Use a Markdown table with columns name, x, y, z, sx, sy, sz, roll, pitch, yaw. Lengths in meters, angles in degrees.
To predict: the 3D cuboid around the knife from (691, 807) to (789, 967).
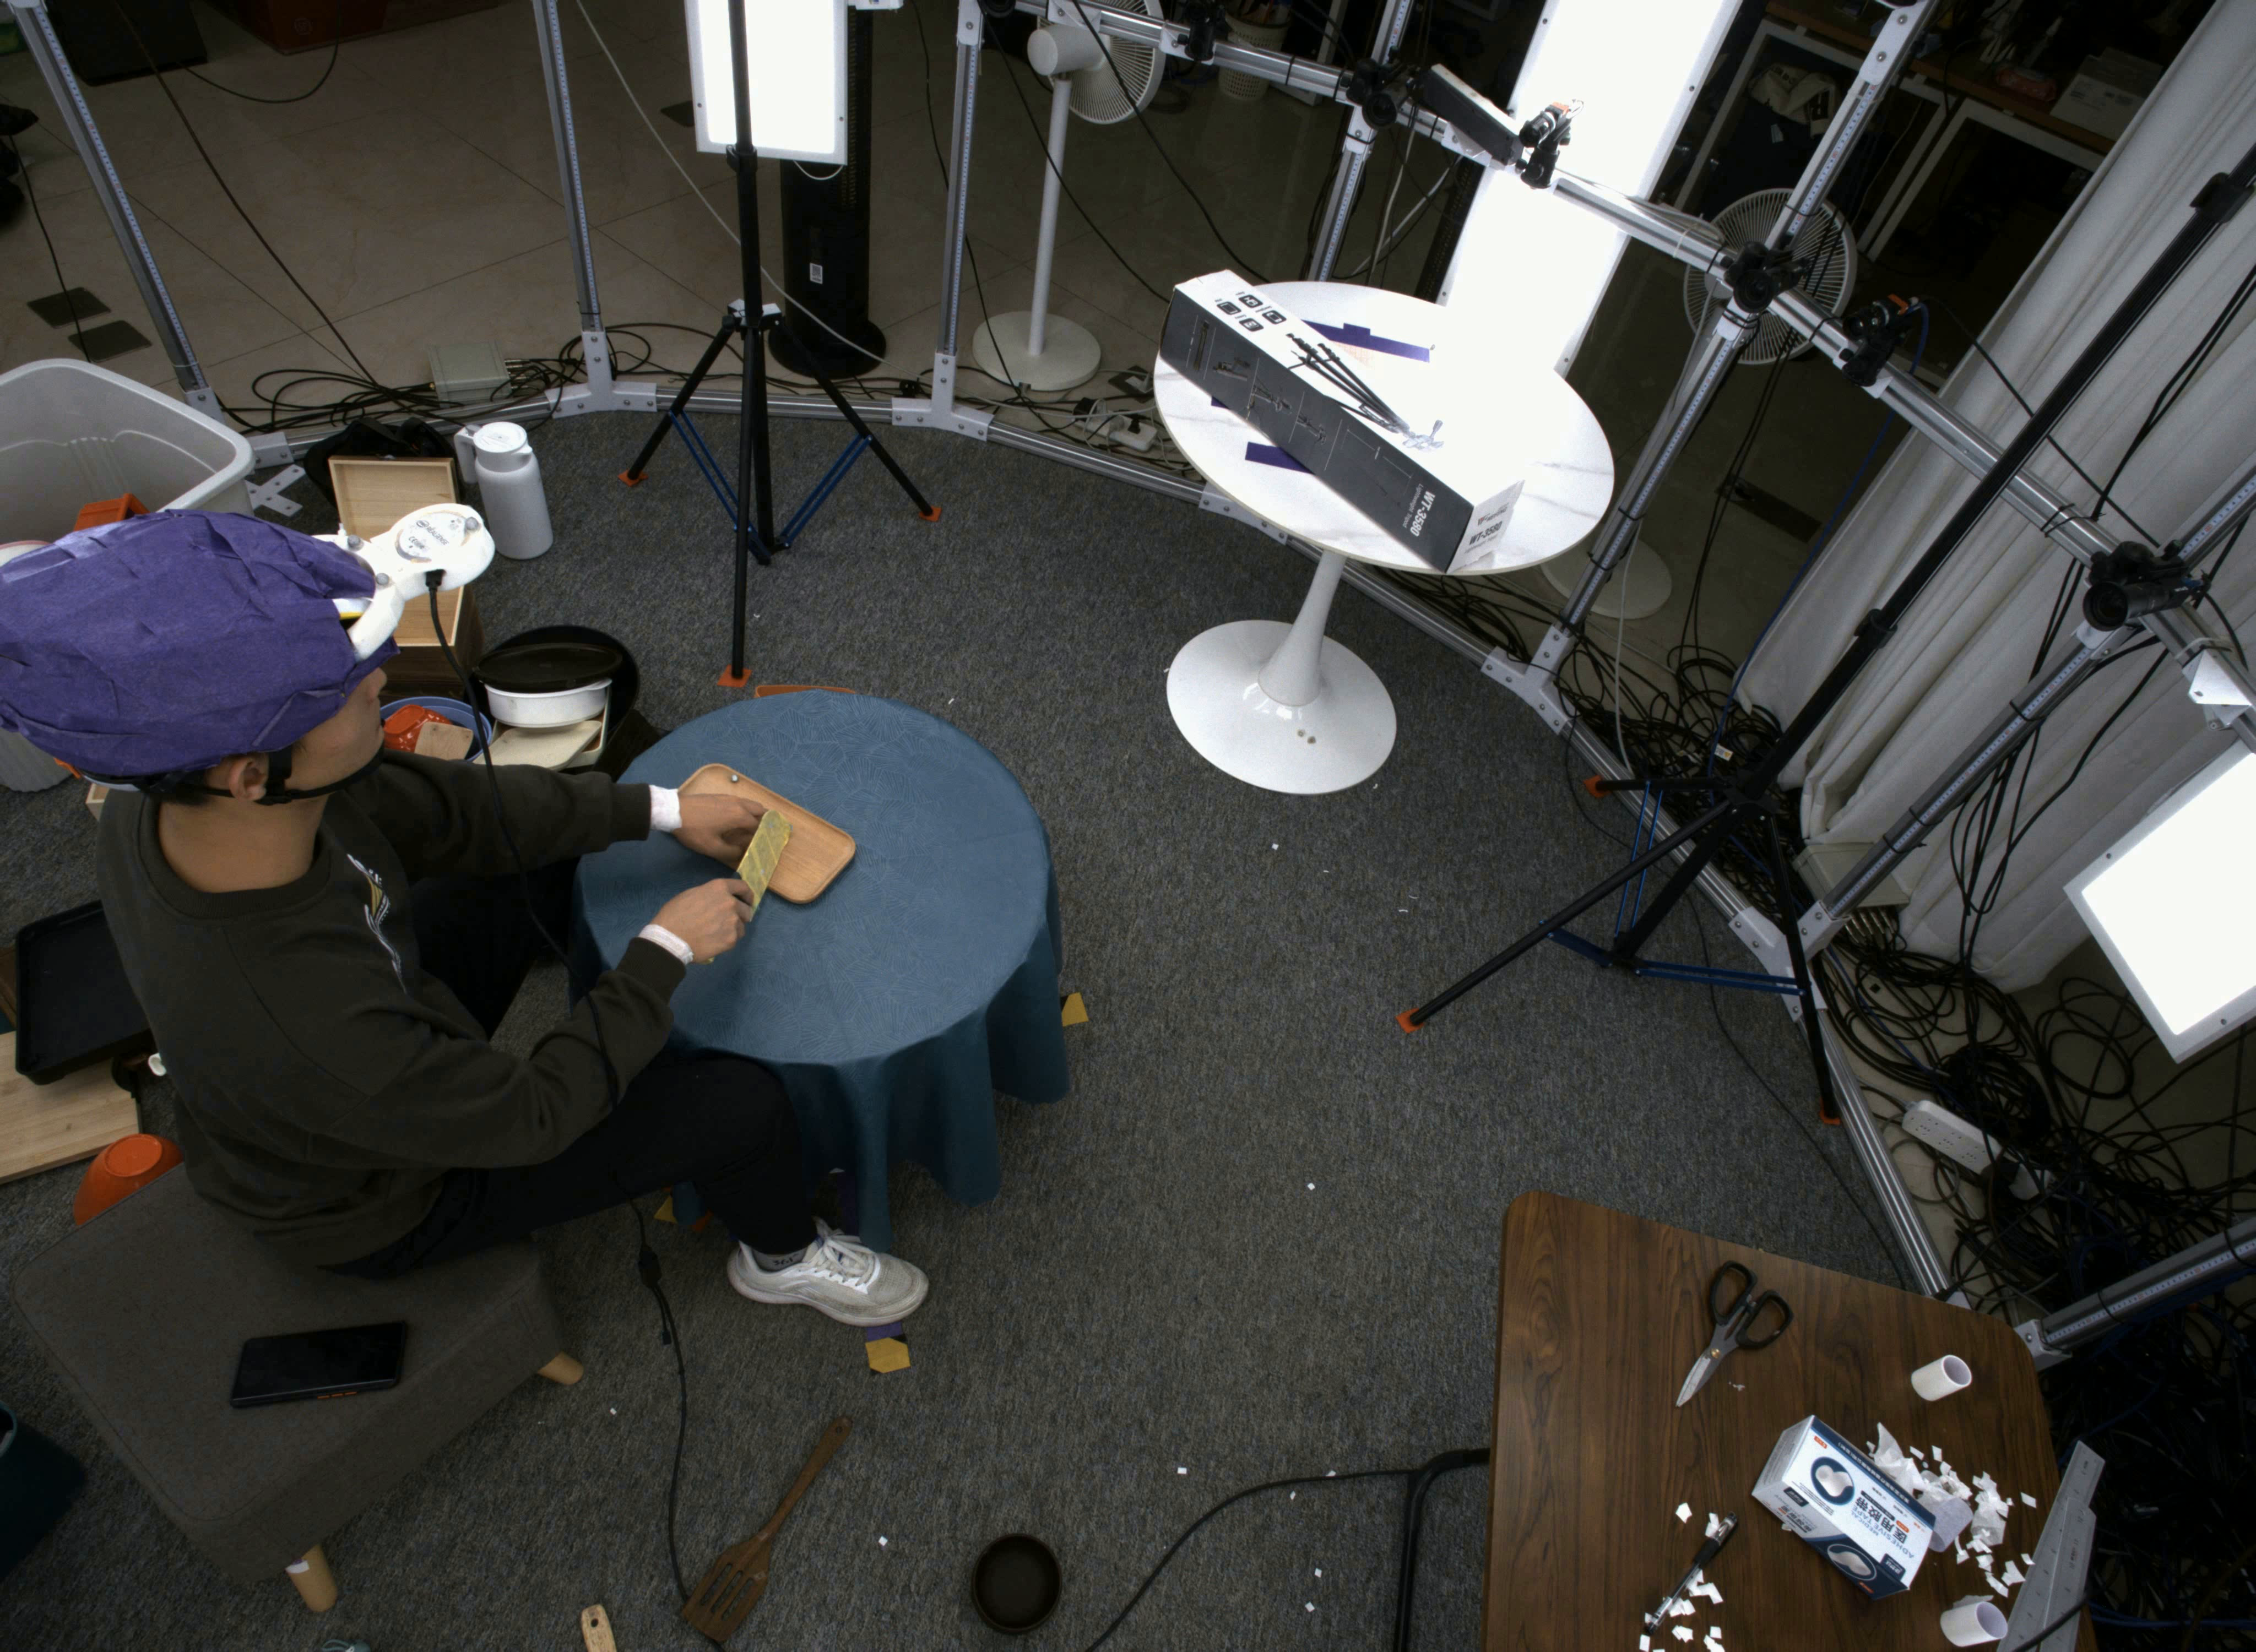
| name | x | y | z | sx | sy | sz | roll | pitch | yaw |
| --- | --- | --- | --- | --- | --- | --- | --- | --- | --- |
| knife | -0.469 | 0.073 | 1.591 | 0.026 | 0.084 | 0.285 | -1 | 38 | 12 |

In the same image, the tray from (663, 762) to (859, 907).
| name | x | y | z | sx | sy | sz | roll | pitch | yaw |
| --- | --- | --- | --- | --- | --- | --- | --- | --- | --- |
| tray | -0.484 | 0.009 | 1.708 | 0.248 | 0.023 | 0.130 | 30 | 56 | 5 |
